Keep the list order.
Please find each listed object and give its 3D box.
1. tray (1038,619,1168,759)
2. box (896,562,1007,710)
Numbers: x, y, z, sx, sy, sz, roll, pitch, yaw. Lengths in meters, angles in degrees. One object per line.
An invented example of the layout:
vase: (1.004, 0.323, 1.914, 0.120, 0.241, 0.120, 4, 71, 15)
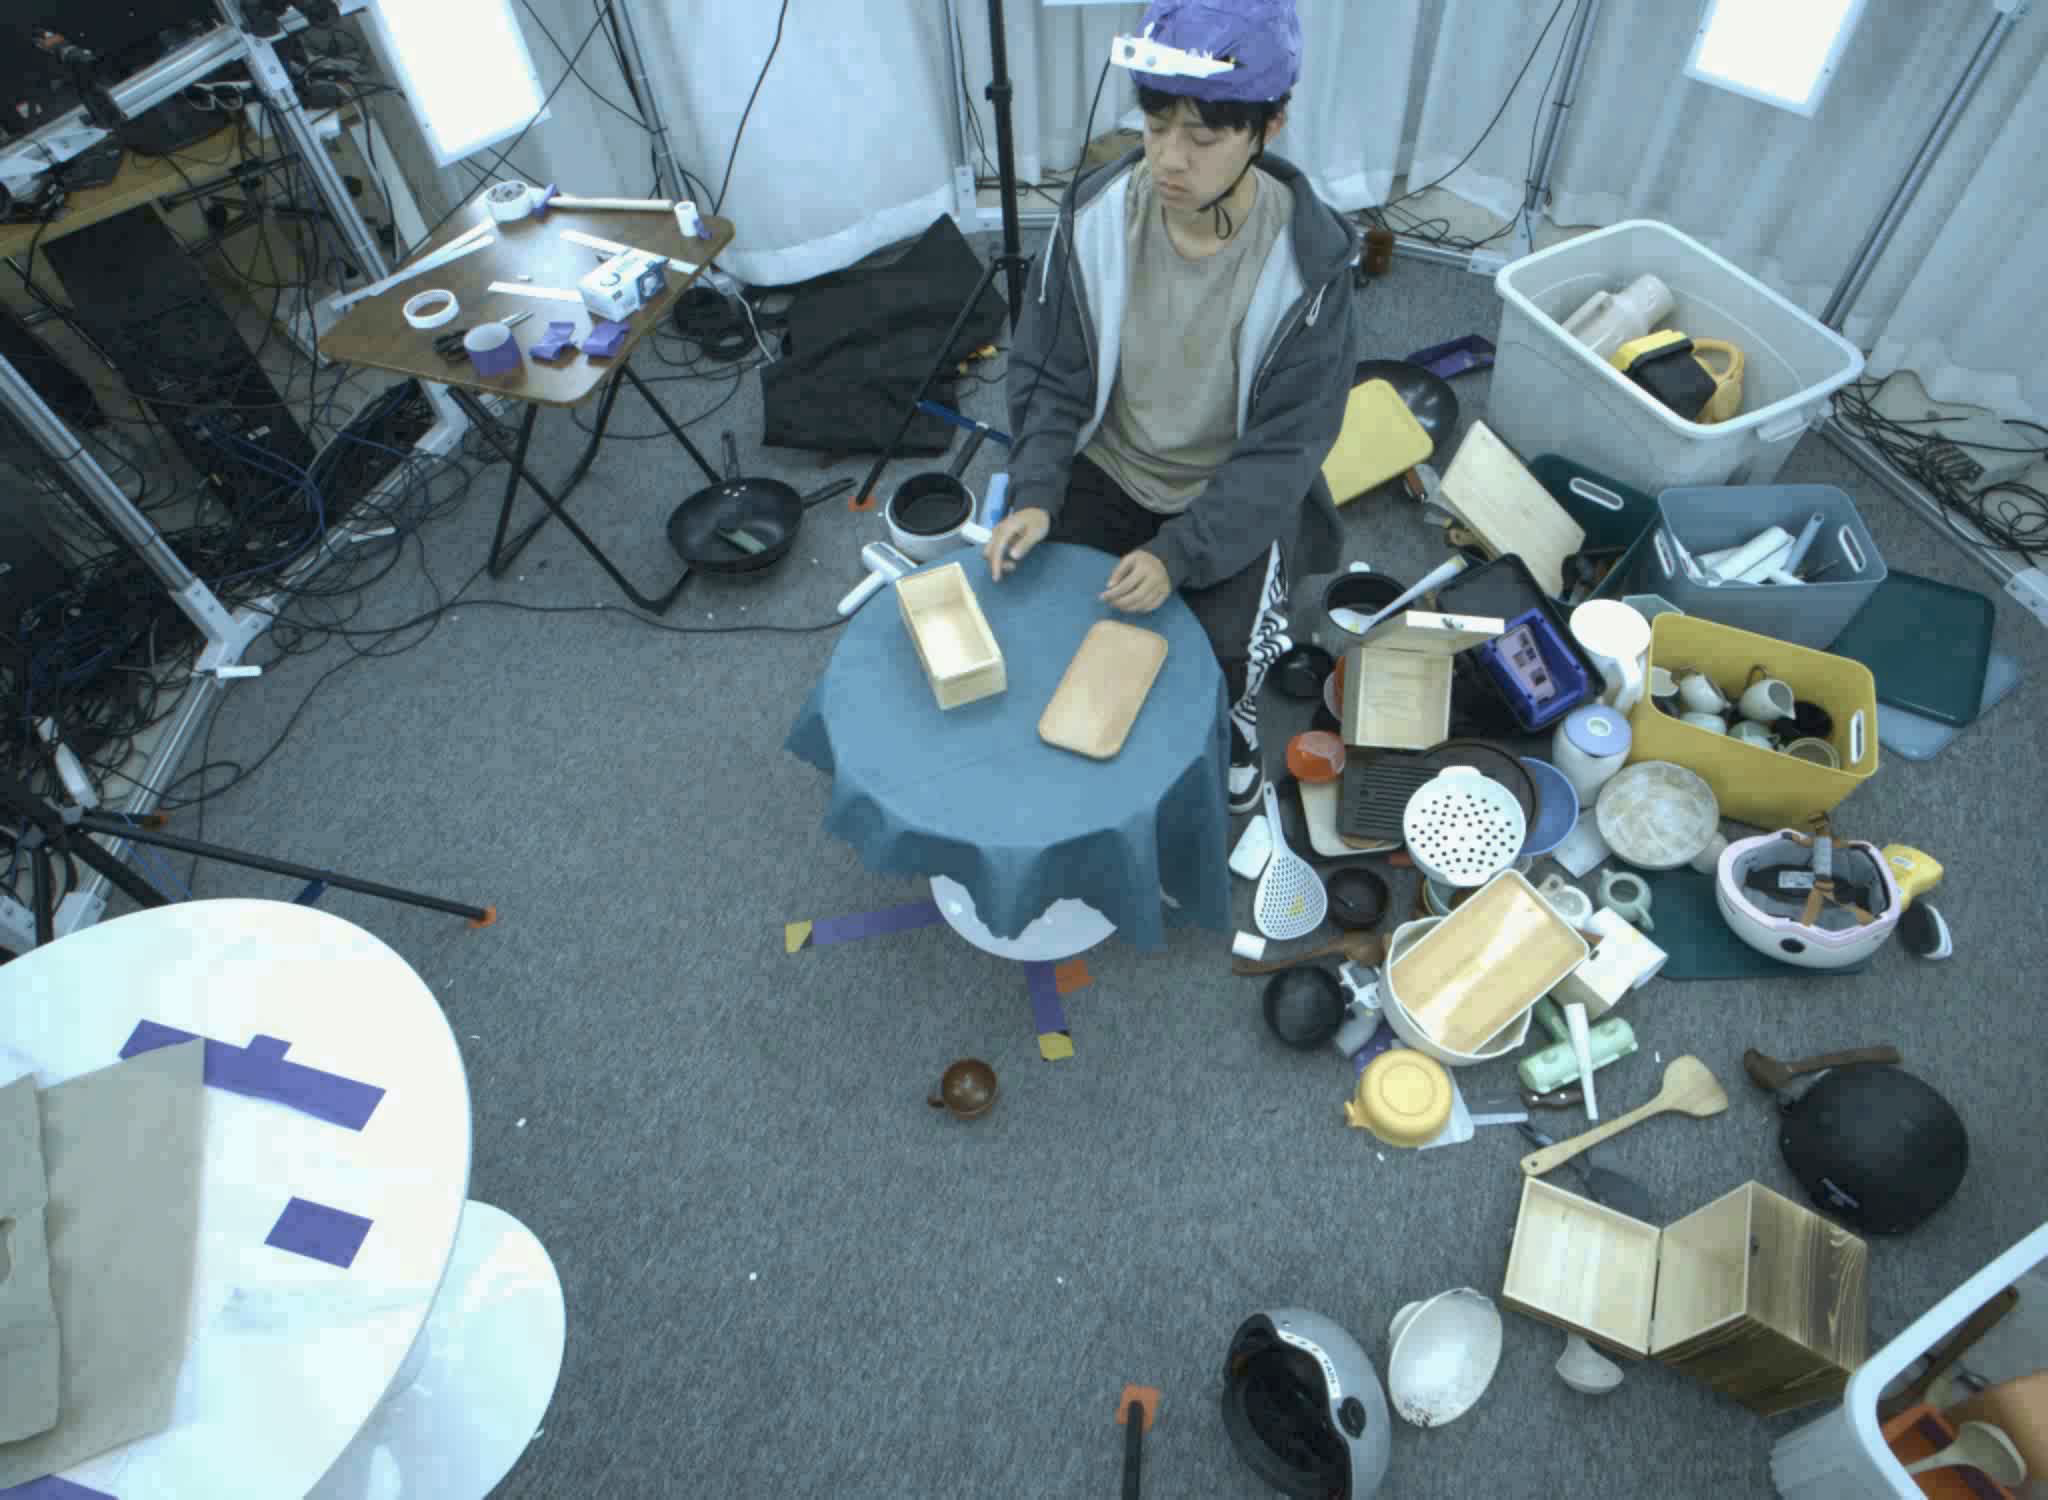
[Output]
tray: (0.120, -0.094, 1.842, 0.129, 0.023, 0.251, 21, 57, 13)
box: (-0.112, -0.177, 1.871, 0.108, 0.081, 0.208, -18, 56, -10)
